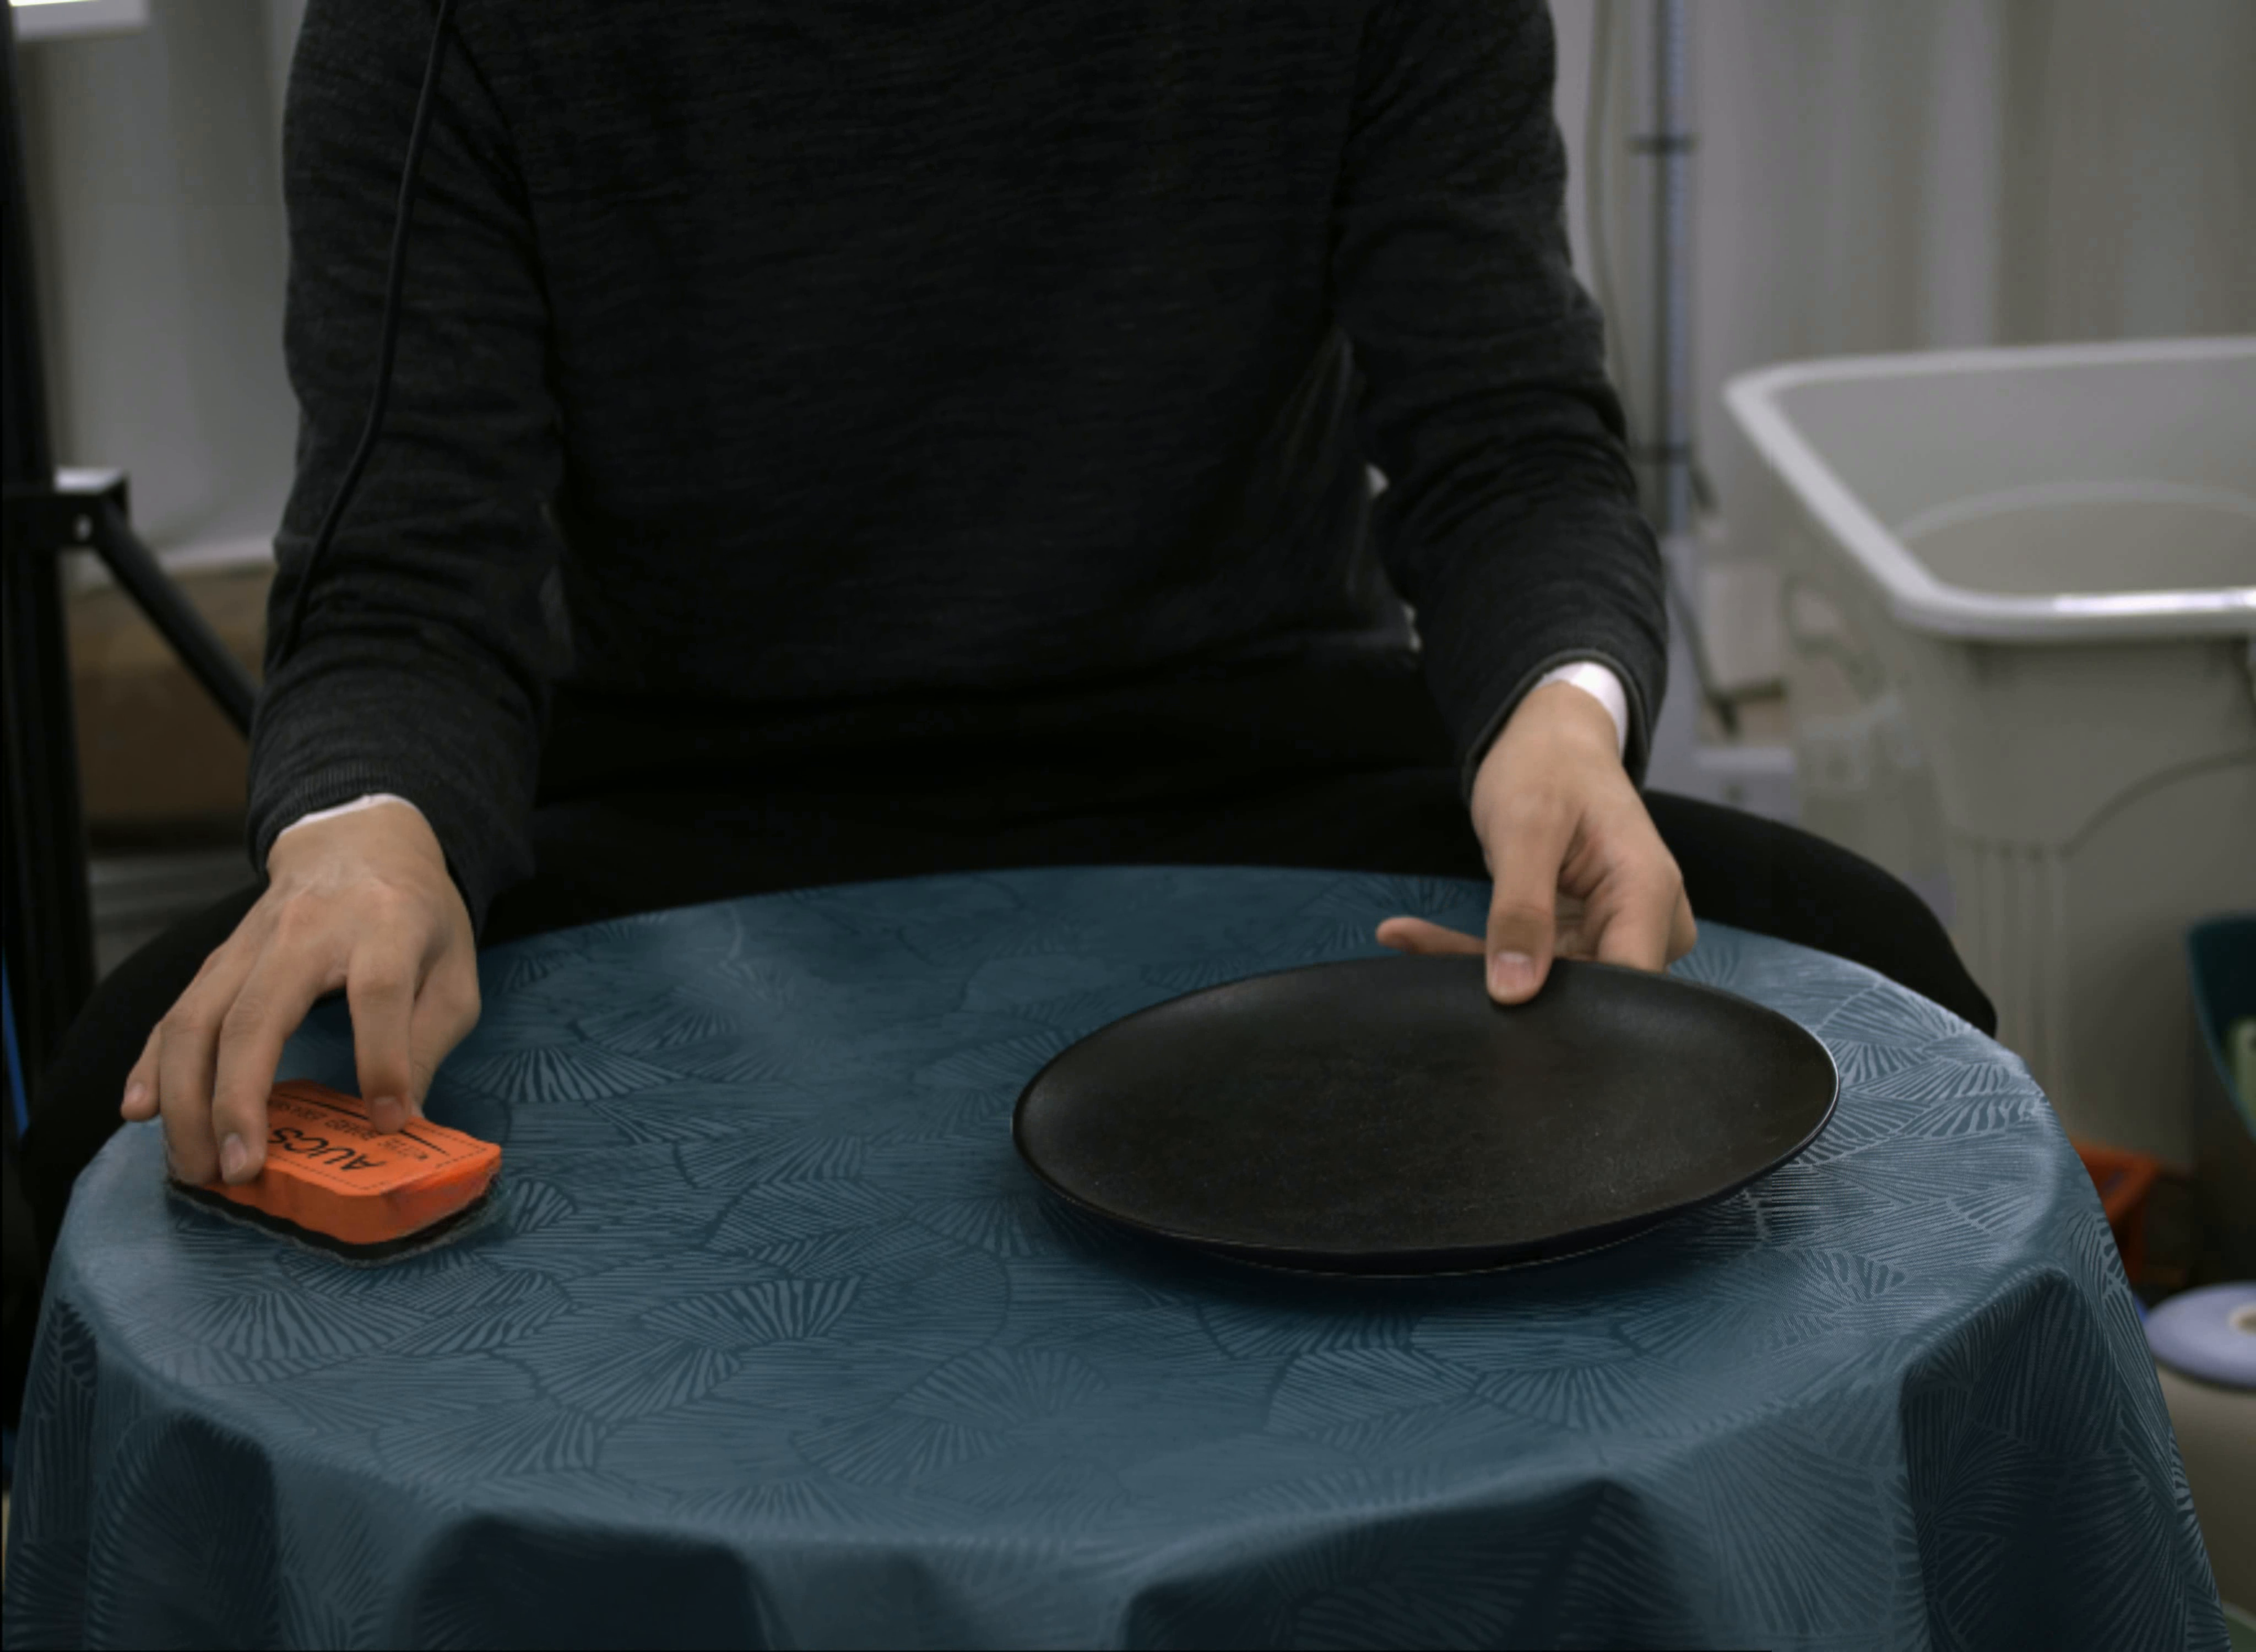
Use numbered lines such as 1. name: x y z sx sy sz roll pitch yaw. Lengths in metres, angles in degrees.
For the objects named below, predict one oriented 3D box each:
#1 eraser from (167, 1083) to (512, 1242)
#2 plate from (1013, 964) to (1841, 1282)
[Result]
1. eraser: -0.233 0.099 1.575 0.057 0.023 0.110 -8 13 -42
2. plate: 0.088 0.089 1.556 0.243 0.023 0.246 -5 17 0
